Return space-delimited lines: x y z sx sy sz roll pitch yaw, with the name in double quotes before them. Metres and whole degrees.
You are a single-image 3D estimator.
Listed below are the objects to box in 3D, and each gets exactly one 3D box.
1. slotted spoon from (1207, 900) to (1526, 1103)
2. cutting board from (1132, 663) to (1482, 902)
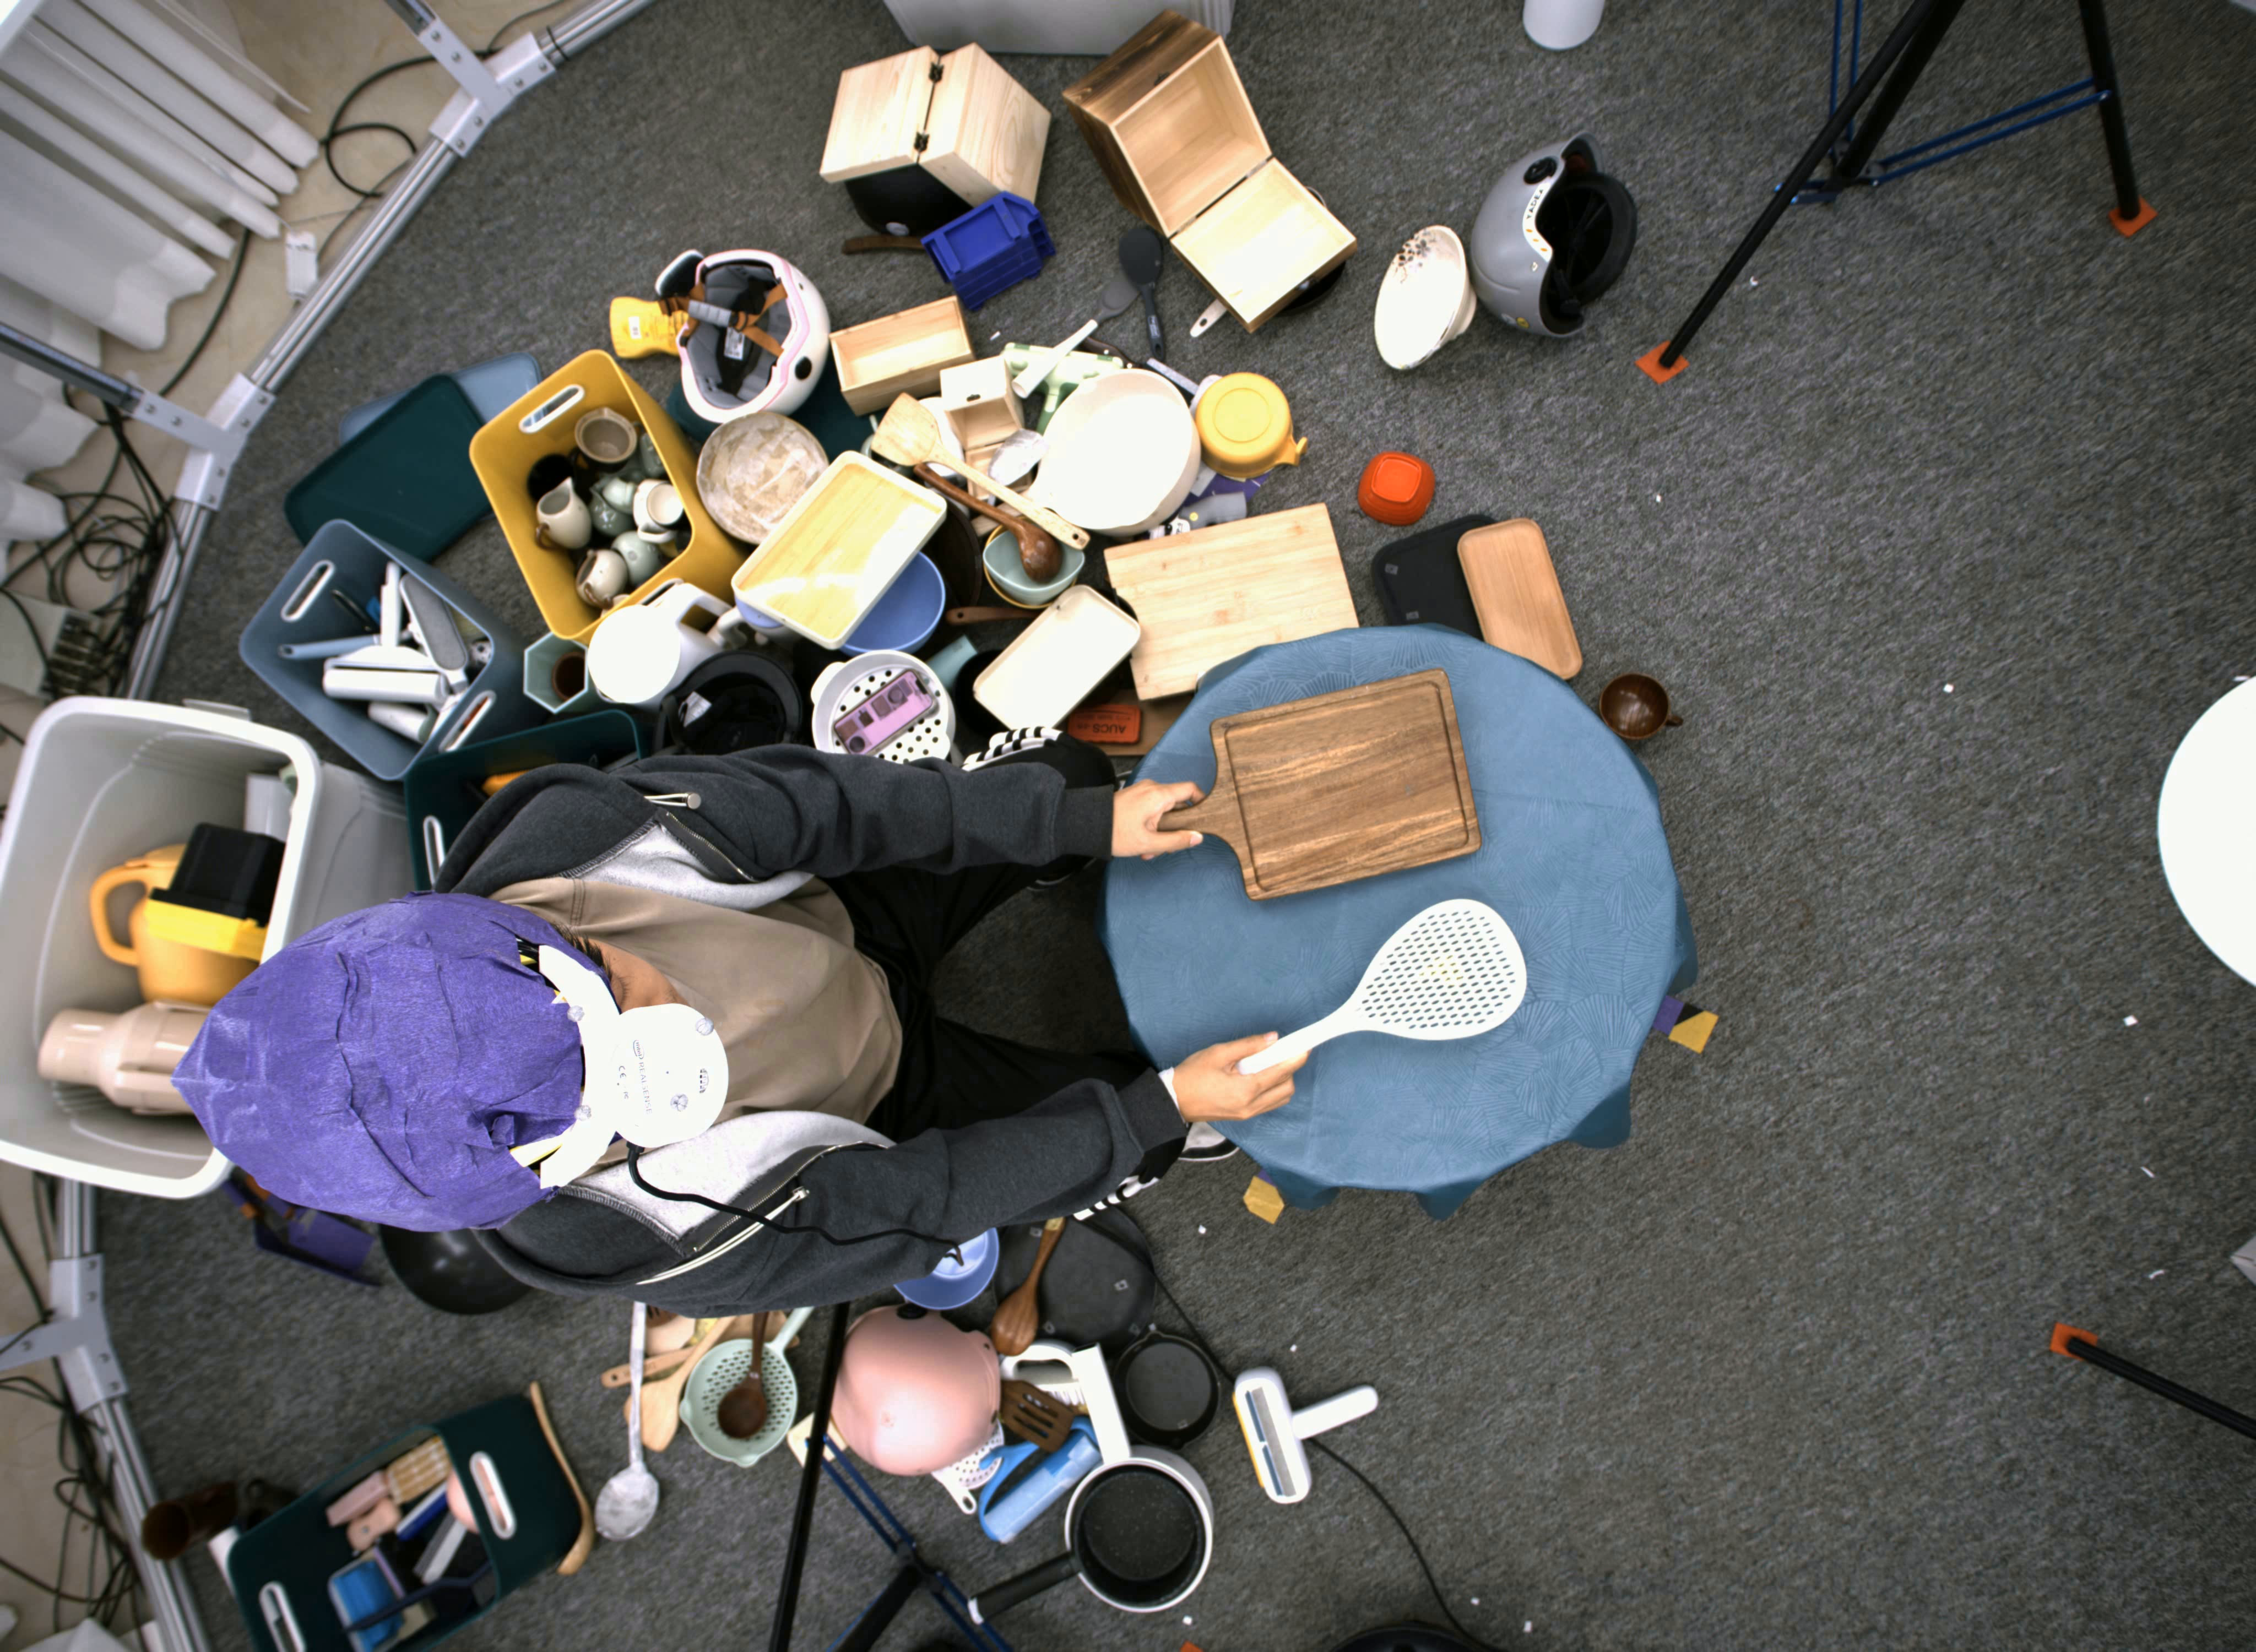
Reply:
"slotted spoon" 0.234 0.193 1.407 0.349 0.050 0.136 -27 86 3
"cutting board" 0.175 -0.033 1.427 0.353 0.023 0.202 -13 99 5
